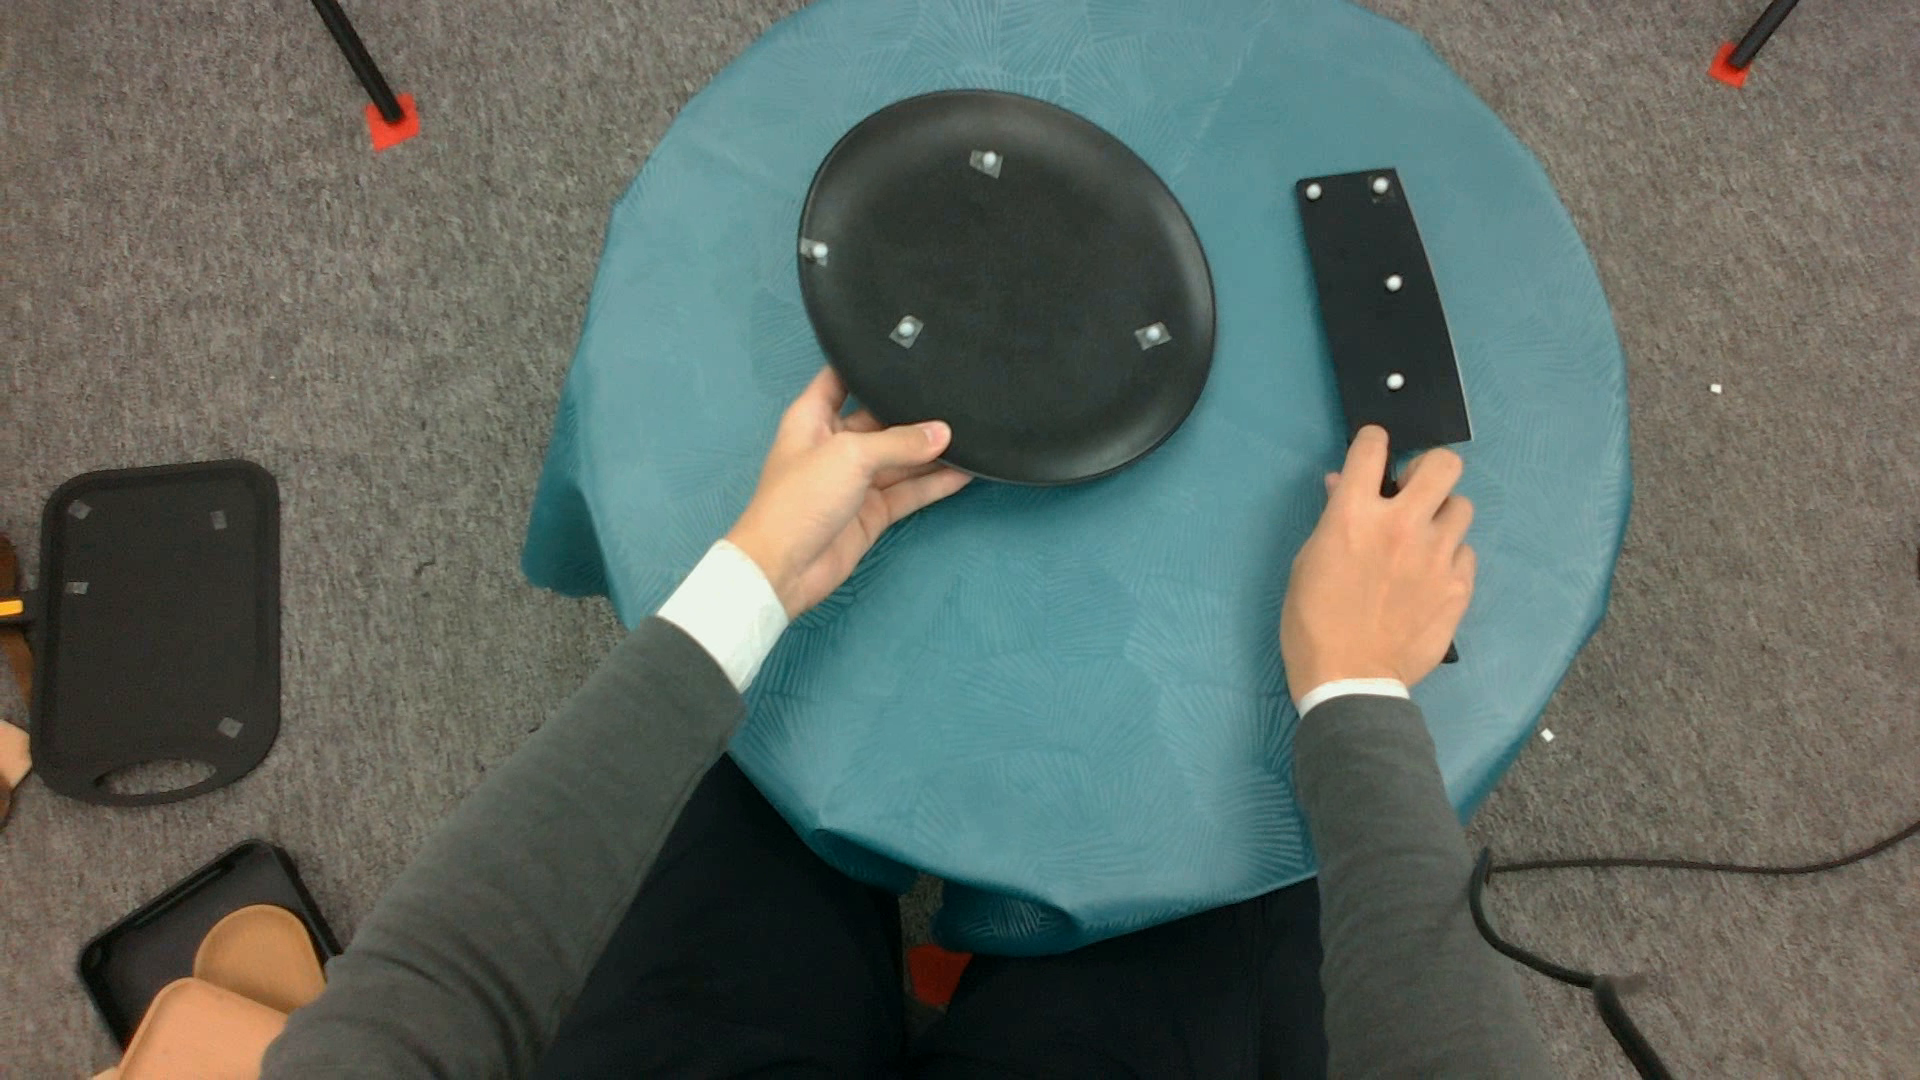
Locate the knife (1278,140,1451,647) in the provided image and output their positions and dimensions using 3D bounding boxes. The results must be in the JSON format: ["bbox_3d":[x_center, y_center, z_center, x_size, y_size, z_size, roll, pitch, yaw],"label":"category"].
[{"bbox_3d":[0.232,-0.089,0.767,0.081,0.021,0.303,-5,73,7],"label":"knife"}]

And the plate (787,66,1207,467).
[{"bbox_3d":[0.023,-0.153,0.764,0.244,0.023,0.245,5,71,-16],"label":"plate"}]
